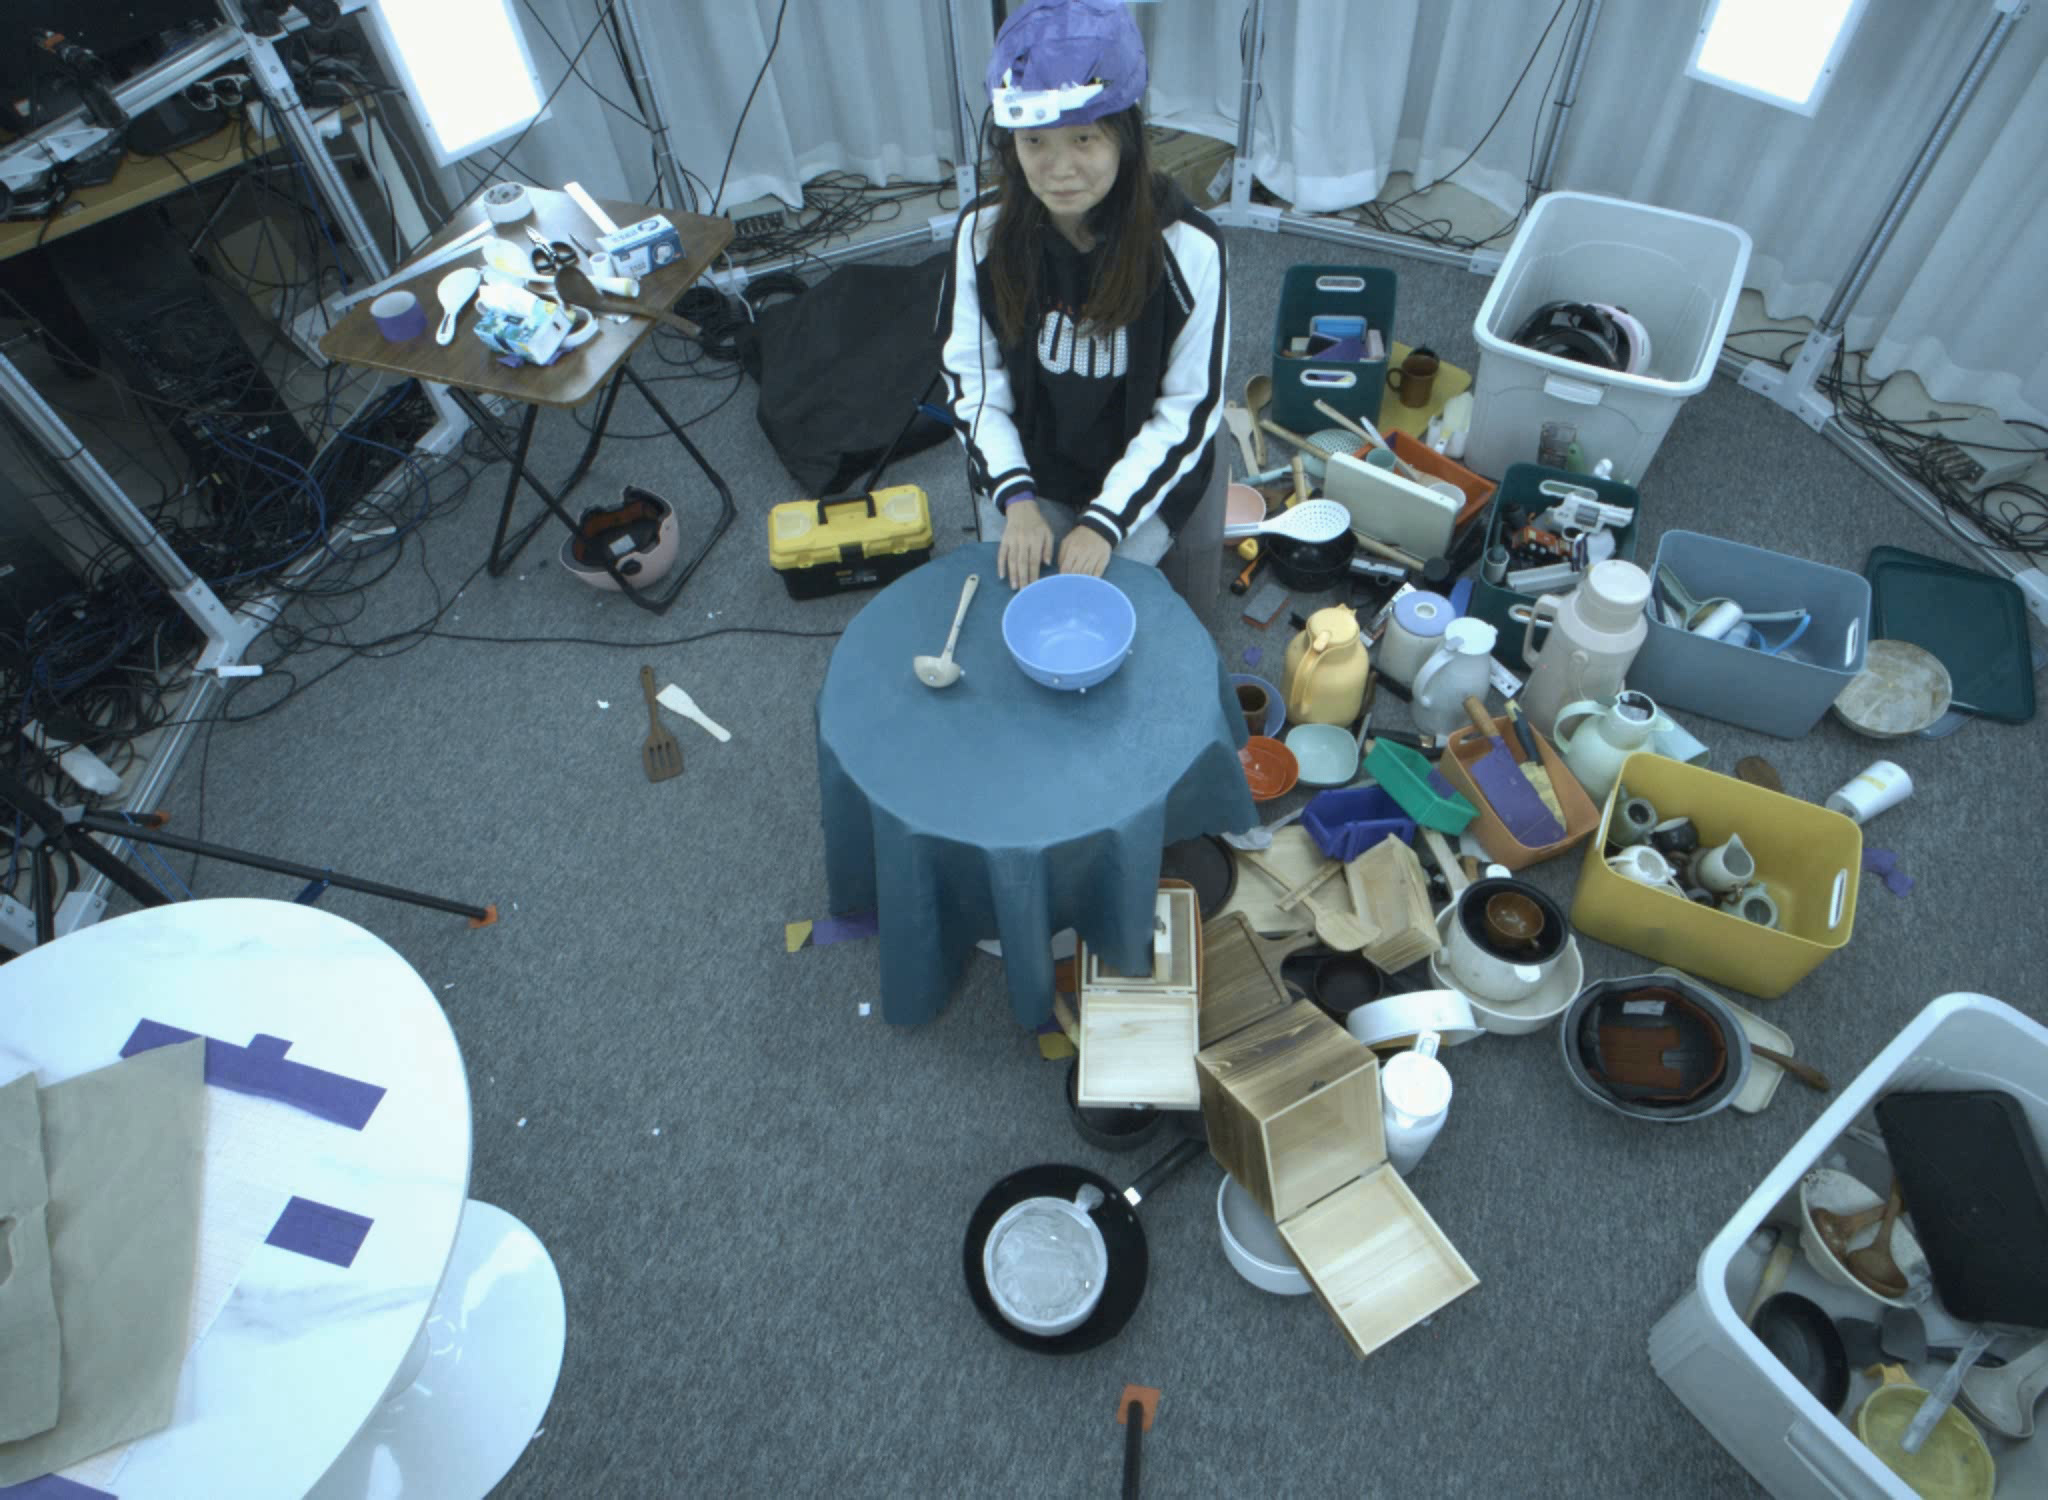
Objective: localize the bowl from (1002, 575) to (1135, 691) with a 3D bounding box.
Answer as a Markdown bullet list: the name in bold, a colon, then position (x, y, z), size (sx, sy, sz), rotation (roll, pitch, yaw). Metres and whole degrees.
- **bowl**: position (0.069, -0.160, 1.844), size (0.196, 0.096, 0.194), rotation (-1, 55, 3)

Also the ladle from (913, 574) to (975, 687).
- **ladle**: position (-0.112, -0.206, 1.892), size (0.072, 0.073, 0.253), rotation (8, 55, 7)
